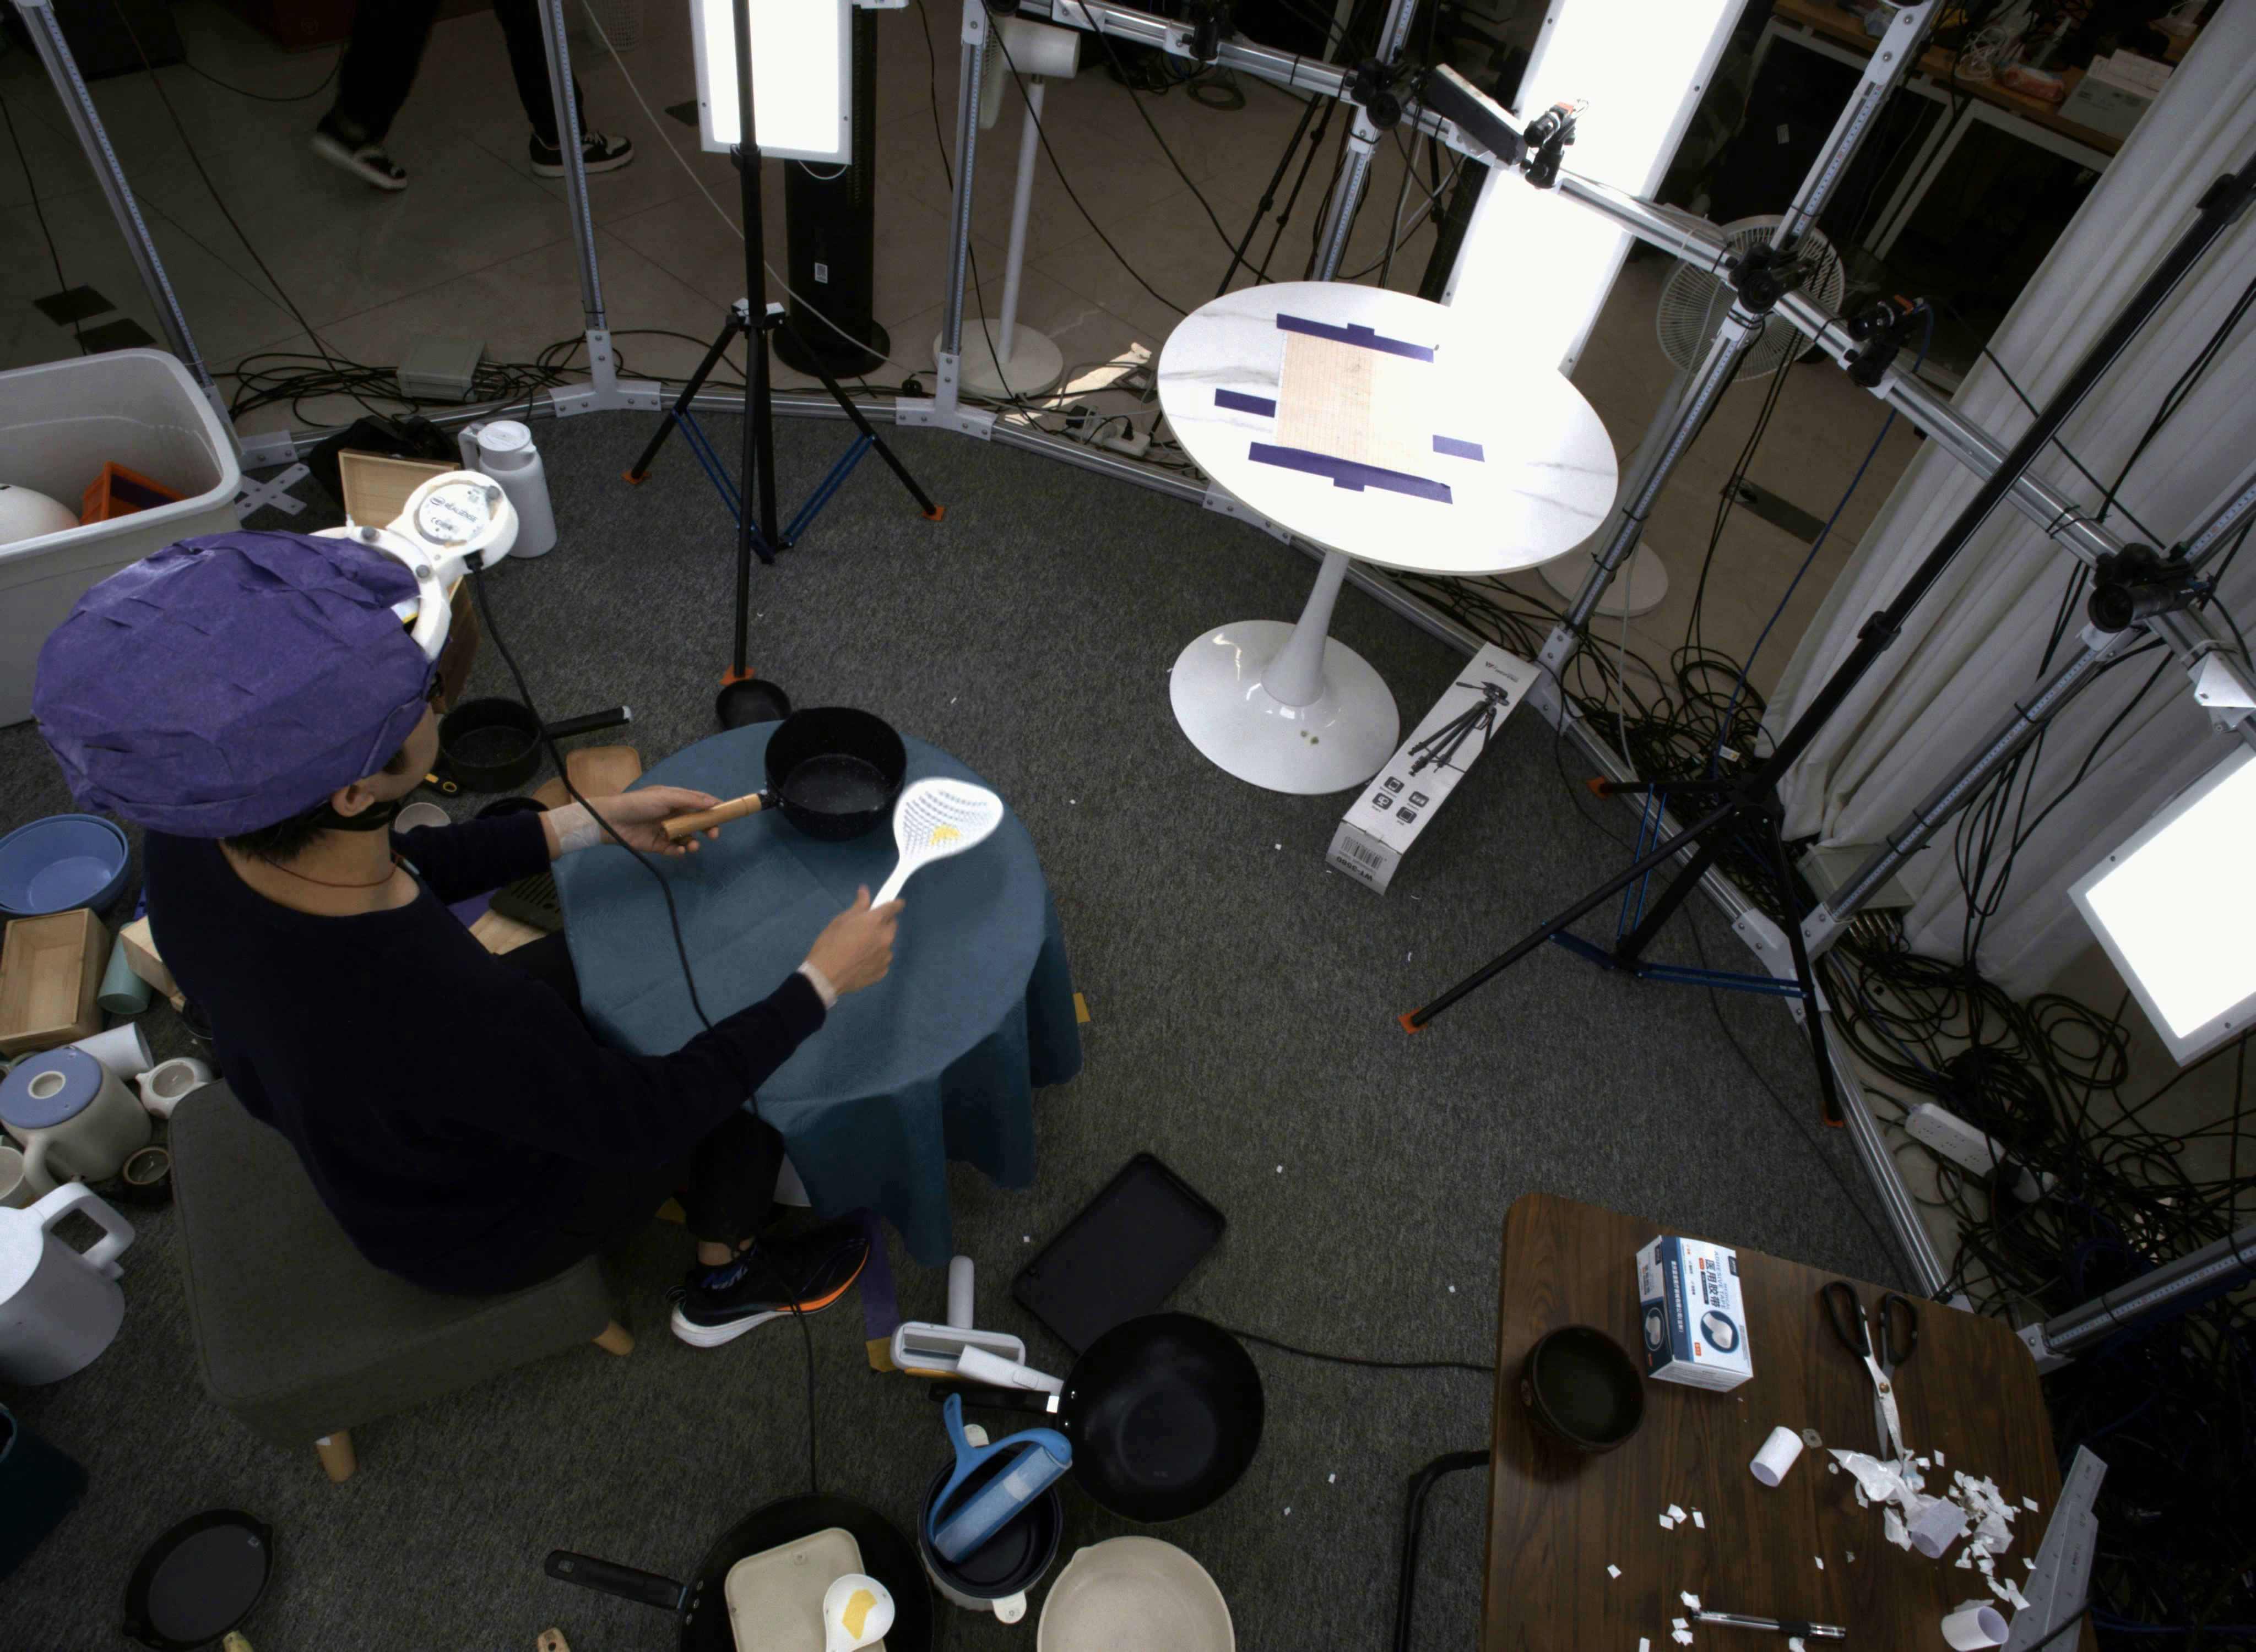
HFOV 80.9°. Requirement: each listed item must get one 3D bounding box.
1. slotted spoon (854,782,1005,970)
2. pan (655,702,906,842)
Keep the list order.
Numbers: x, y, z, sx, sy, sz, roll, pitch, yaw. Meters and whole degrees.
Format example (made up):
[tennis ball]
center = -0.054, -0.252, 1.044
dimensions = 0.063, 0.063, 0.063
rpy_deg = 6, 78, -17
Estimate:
[slotted spoon]
center = -0.263, 0.053, 1.606
dimensions = 0.134, 0.052, 0.345
rpy_deg = 16, 34, 9
[pan]
center = -0.445, -0.038, 1.667
dimensions = 0.344, 0.110, 0.203
rpy_deg = -31, 67, -33
